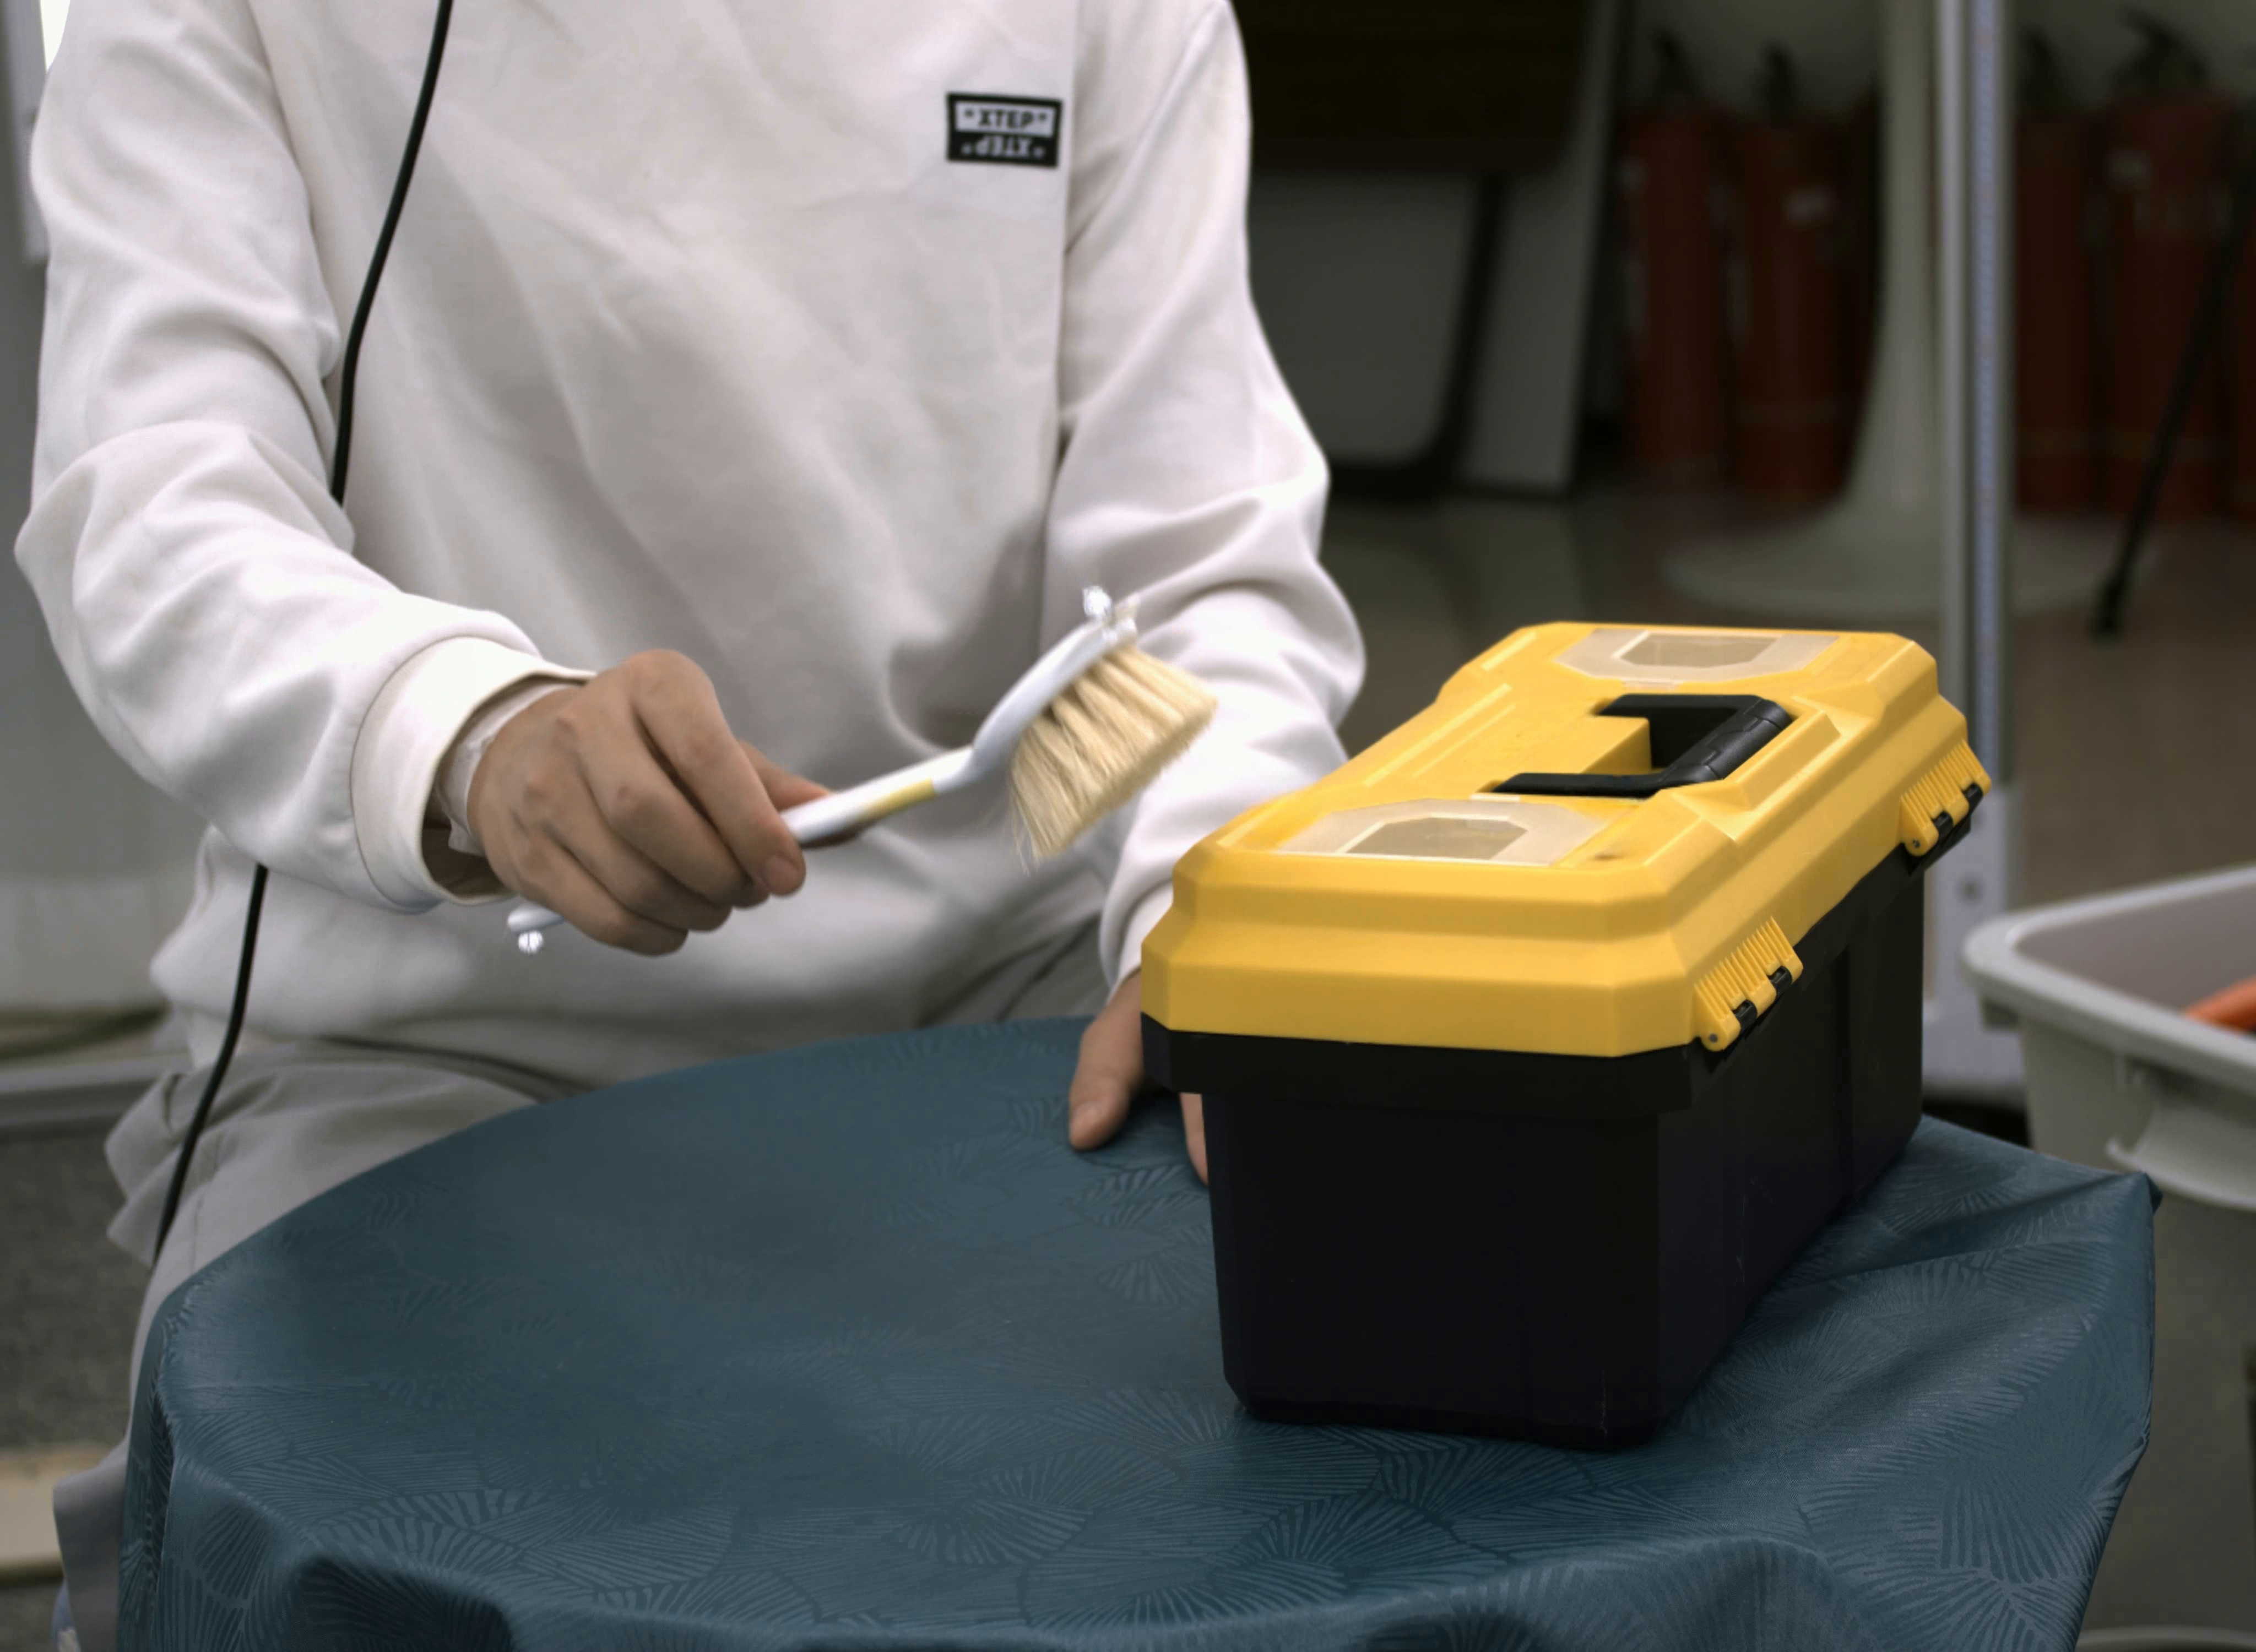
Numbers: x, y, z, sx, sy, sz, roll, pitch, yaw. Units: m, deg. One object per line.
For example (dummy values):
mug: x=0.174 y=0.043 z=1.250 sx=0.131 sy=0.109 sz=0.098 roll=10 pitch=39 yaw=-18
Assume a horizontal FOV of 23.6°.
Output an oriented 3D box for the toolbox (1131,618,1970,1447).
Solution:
toolbox: x=0.139 y=0.054 z=1.646 sx=0.181 sy=0.175 sz=0.347 roll=3 pitch=14 yaw=23

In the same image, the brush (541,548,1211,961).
brush: x=-0.077 y=0.002 z=1.572 sx=0.269 sy=0.057 sz=0.067 roll=-33 pitch=-15 yaw=38
